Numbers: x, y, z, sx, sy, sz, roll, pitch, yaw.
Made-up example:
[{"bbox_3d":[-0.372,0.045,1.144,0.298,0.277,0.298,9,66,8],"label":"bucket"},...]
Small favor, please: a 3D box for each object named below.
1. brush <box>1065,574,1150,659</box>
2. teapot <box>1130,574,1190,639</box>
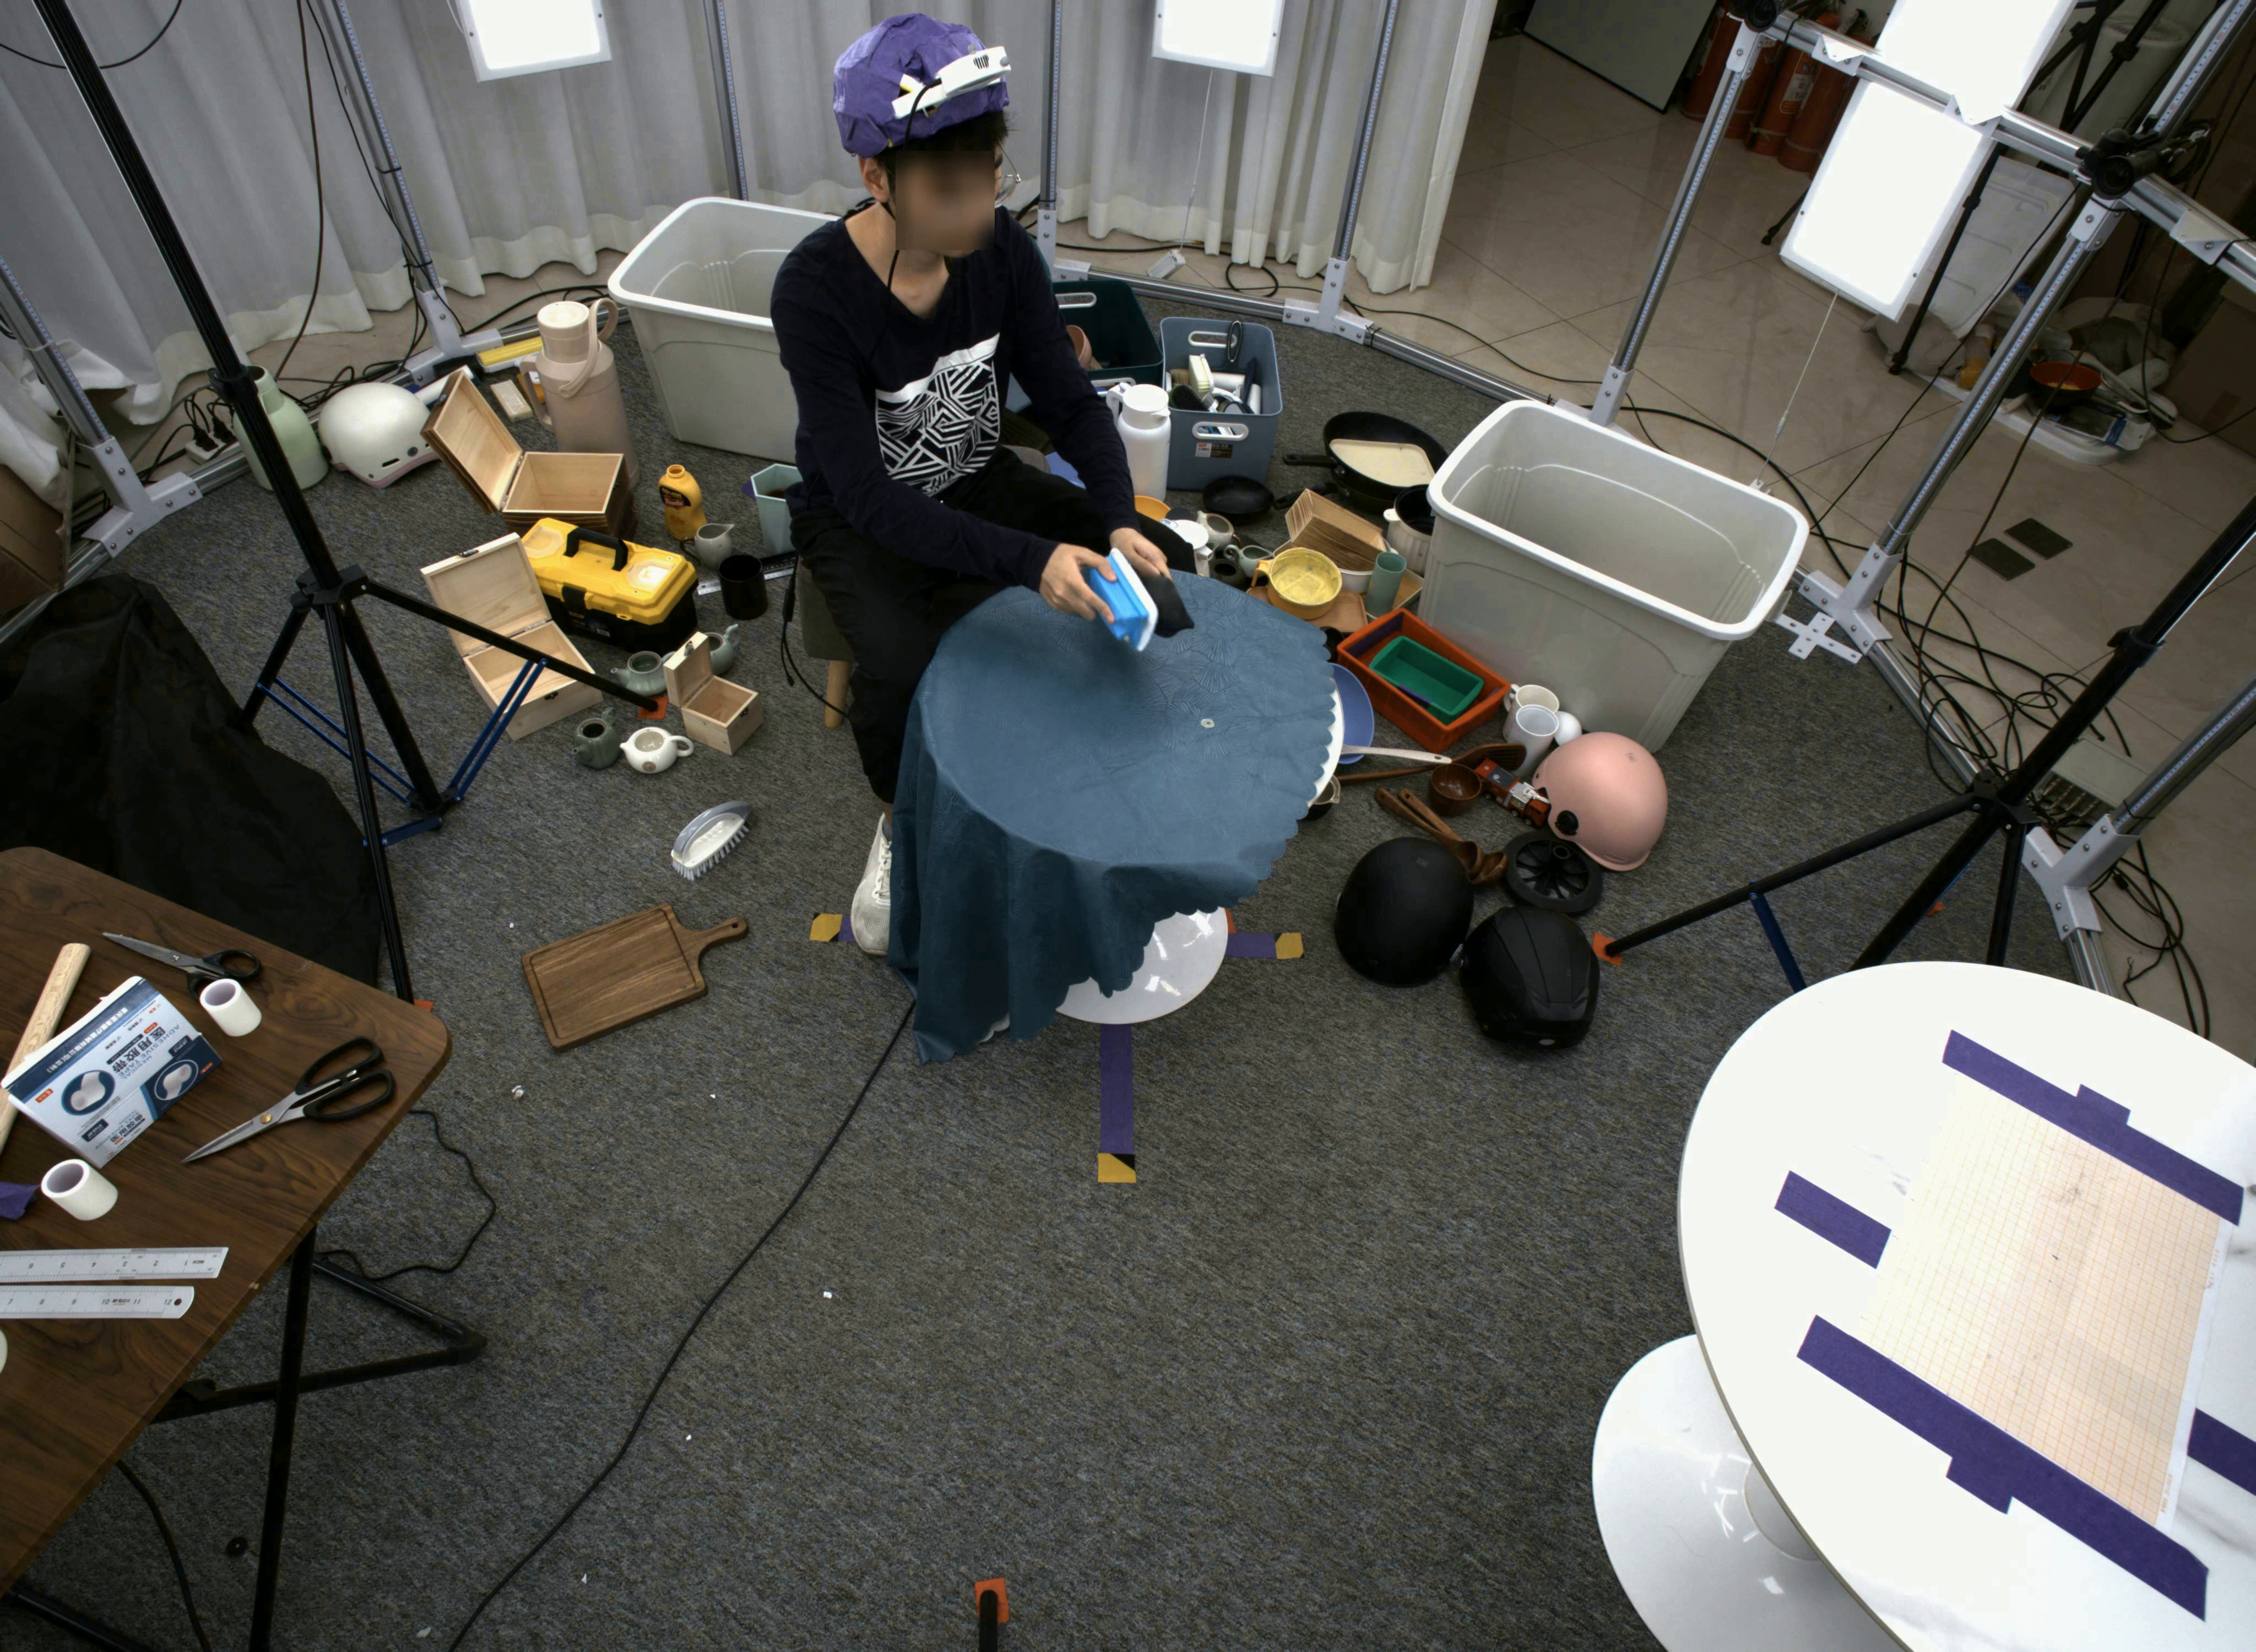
[{"bbox_3d":[-0.035,-0.288,1.761,0.056,0.082,0.146,-10,33,-43],"label":"brush"},{"bbox_3d":[0.037,-0.304,1.772,0.053,0.088,0.136,-20,48,-11],"label":"teapot"}]
